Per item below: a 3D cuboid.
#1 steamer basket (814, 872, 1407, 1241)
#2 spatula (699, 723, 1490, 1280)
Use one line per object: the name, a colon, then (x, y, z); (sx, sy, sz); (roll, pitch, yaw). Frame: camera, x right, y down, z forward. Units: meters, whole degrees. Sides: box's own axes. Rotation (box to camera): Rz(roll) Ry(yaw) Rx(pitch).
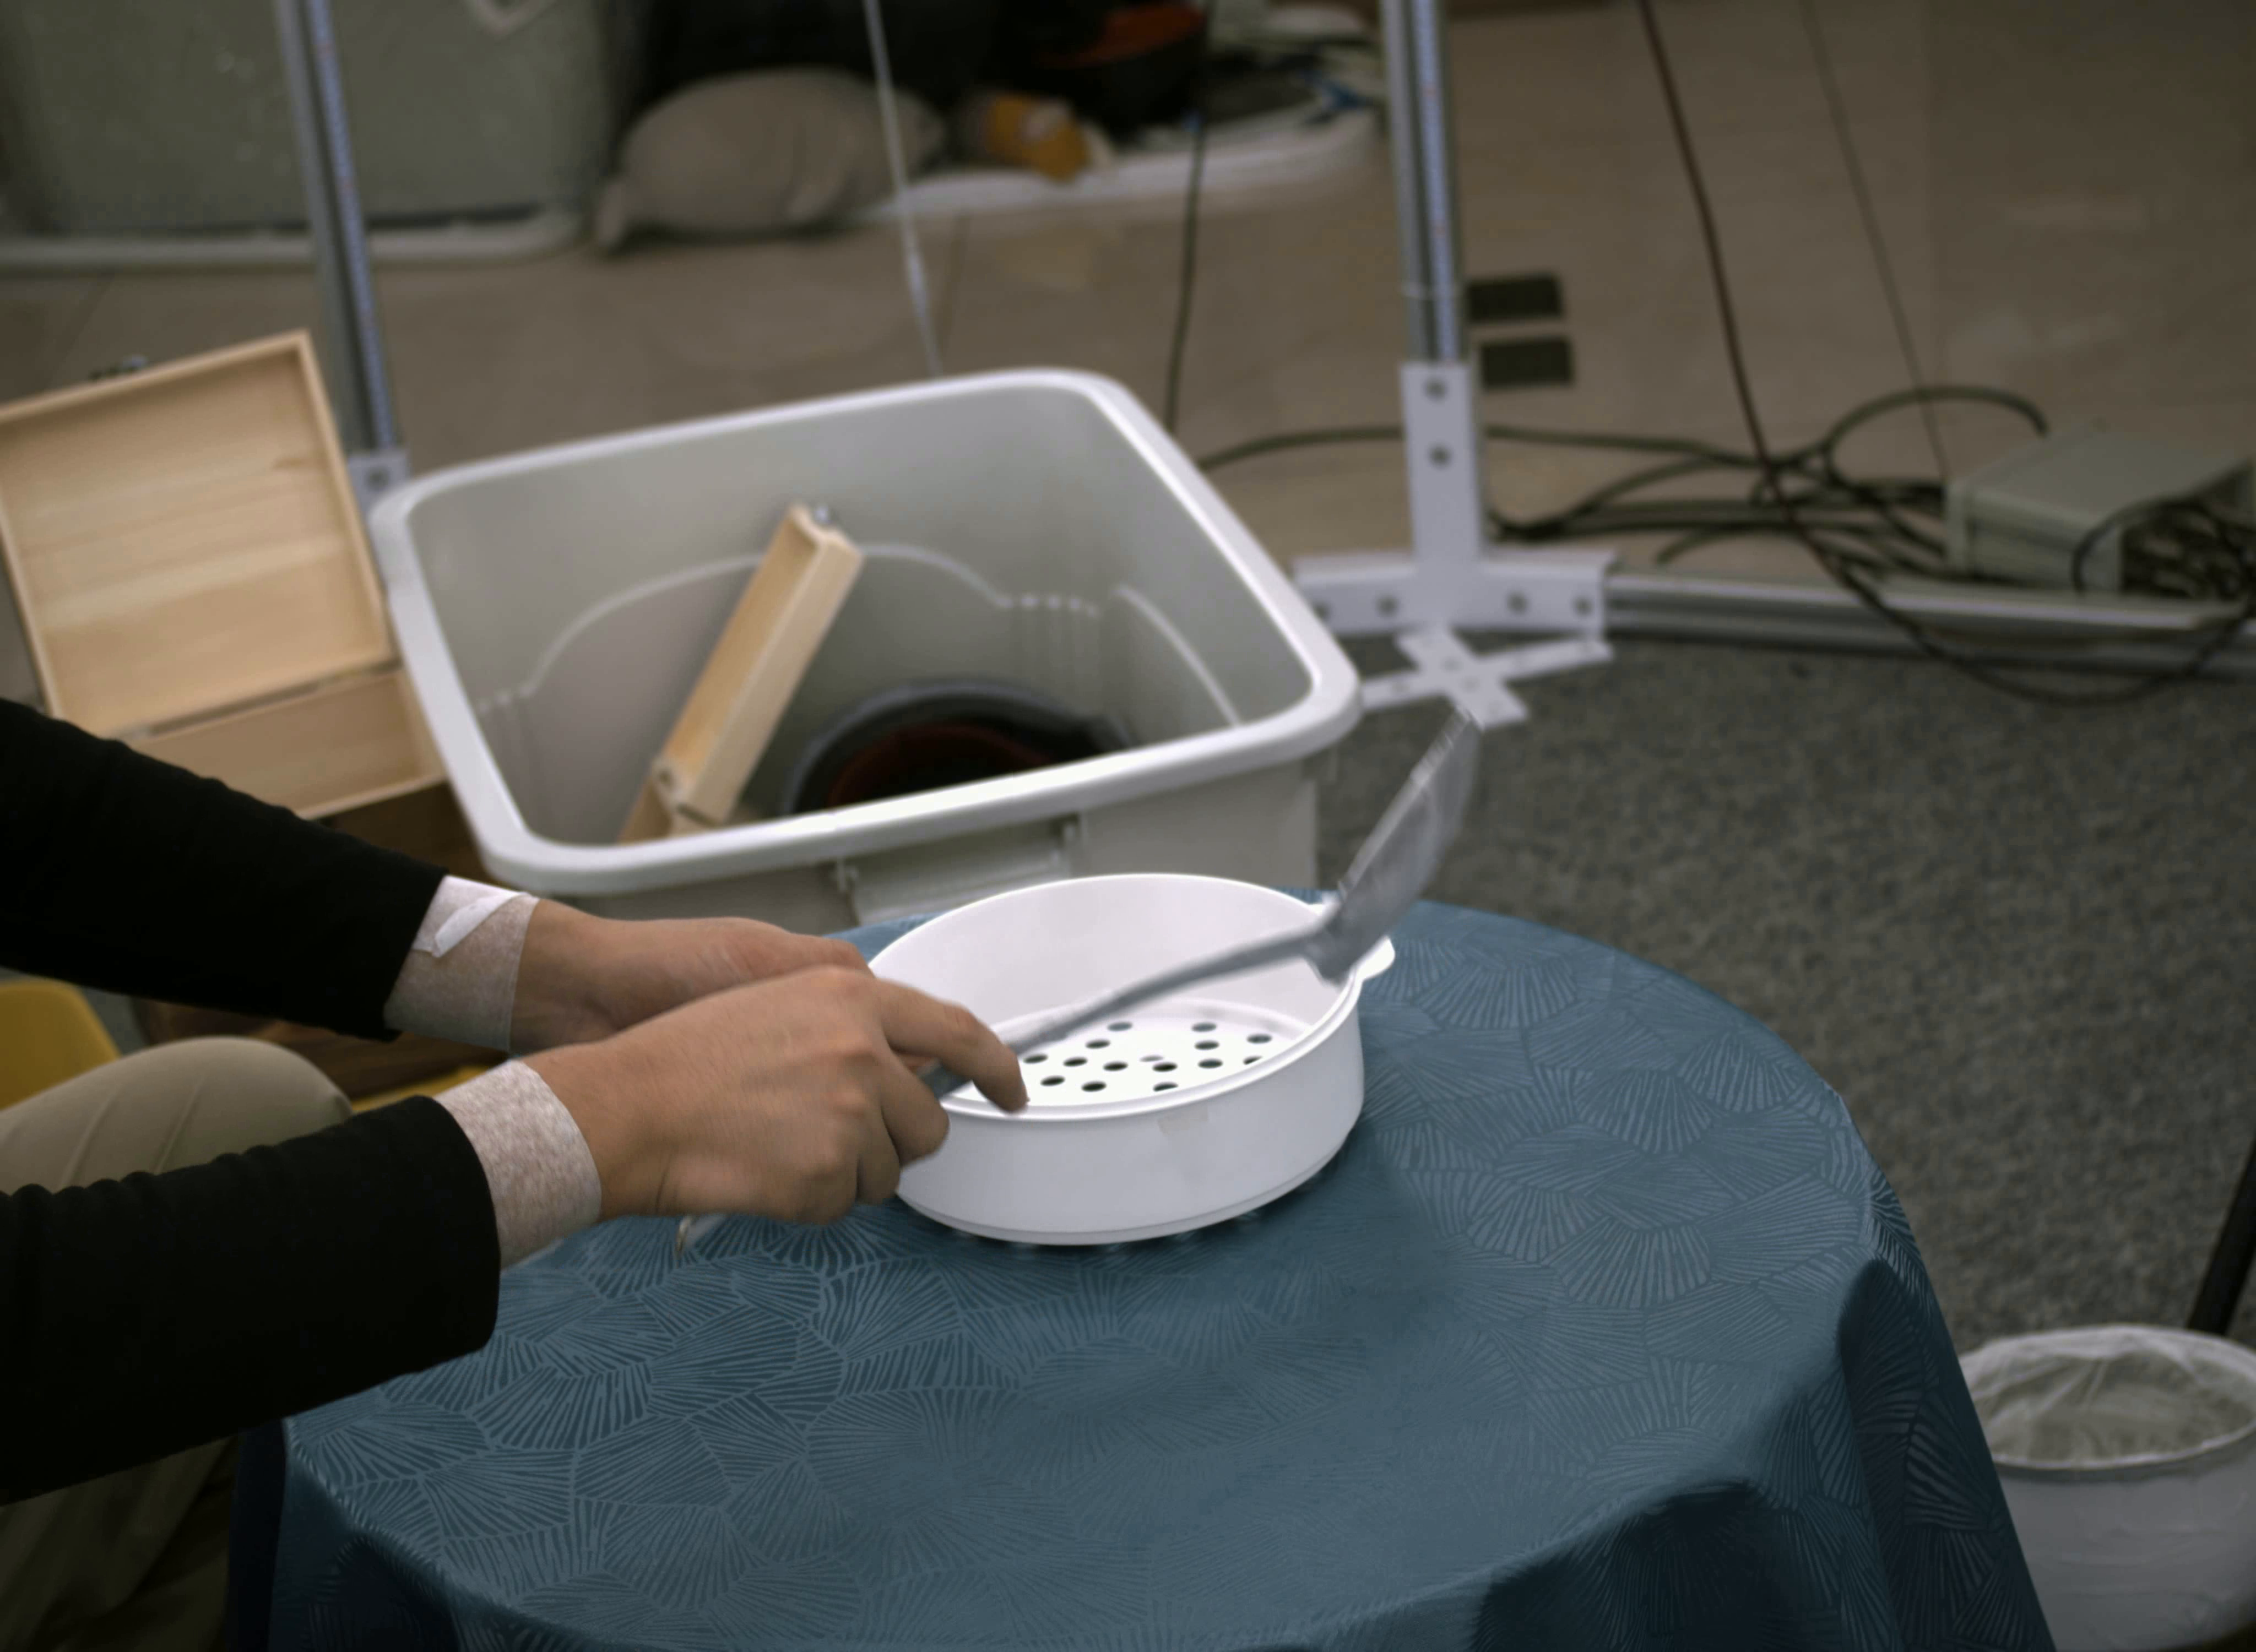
steamer basket: (-0.003, 0.089, 2.173); (0.230, 0.070, 0.199); (-13, 25, -12)
spatula: (-0.007, 0.065, 1.973); (0.362, 0.100, 0.044); (-24, 61, -28)
